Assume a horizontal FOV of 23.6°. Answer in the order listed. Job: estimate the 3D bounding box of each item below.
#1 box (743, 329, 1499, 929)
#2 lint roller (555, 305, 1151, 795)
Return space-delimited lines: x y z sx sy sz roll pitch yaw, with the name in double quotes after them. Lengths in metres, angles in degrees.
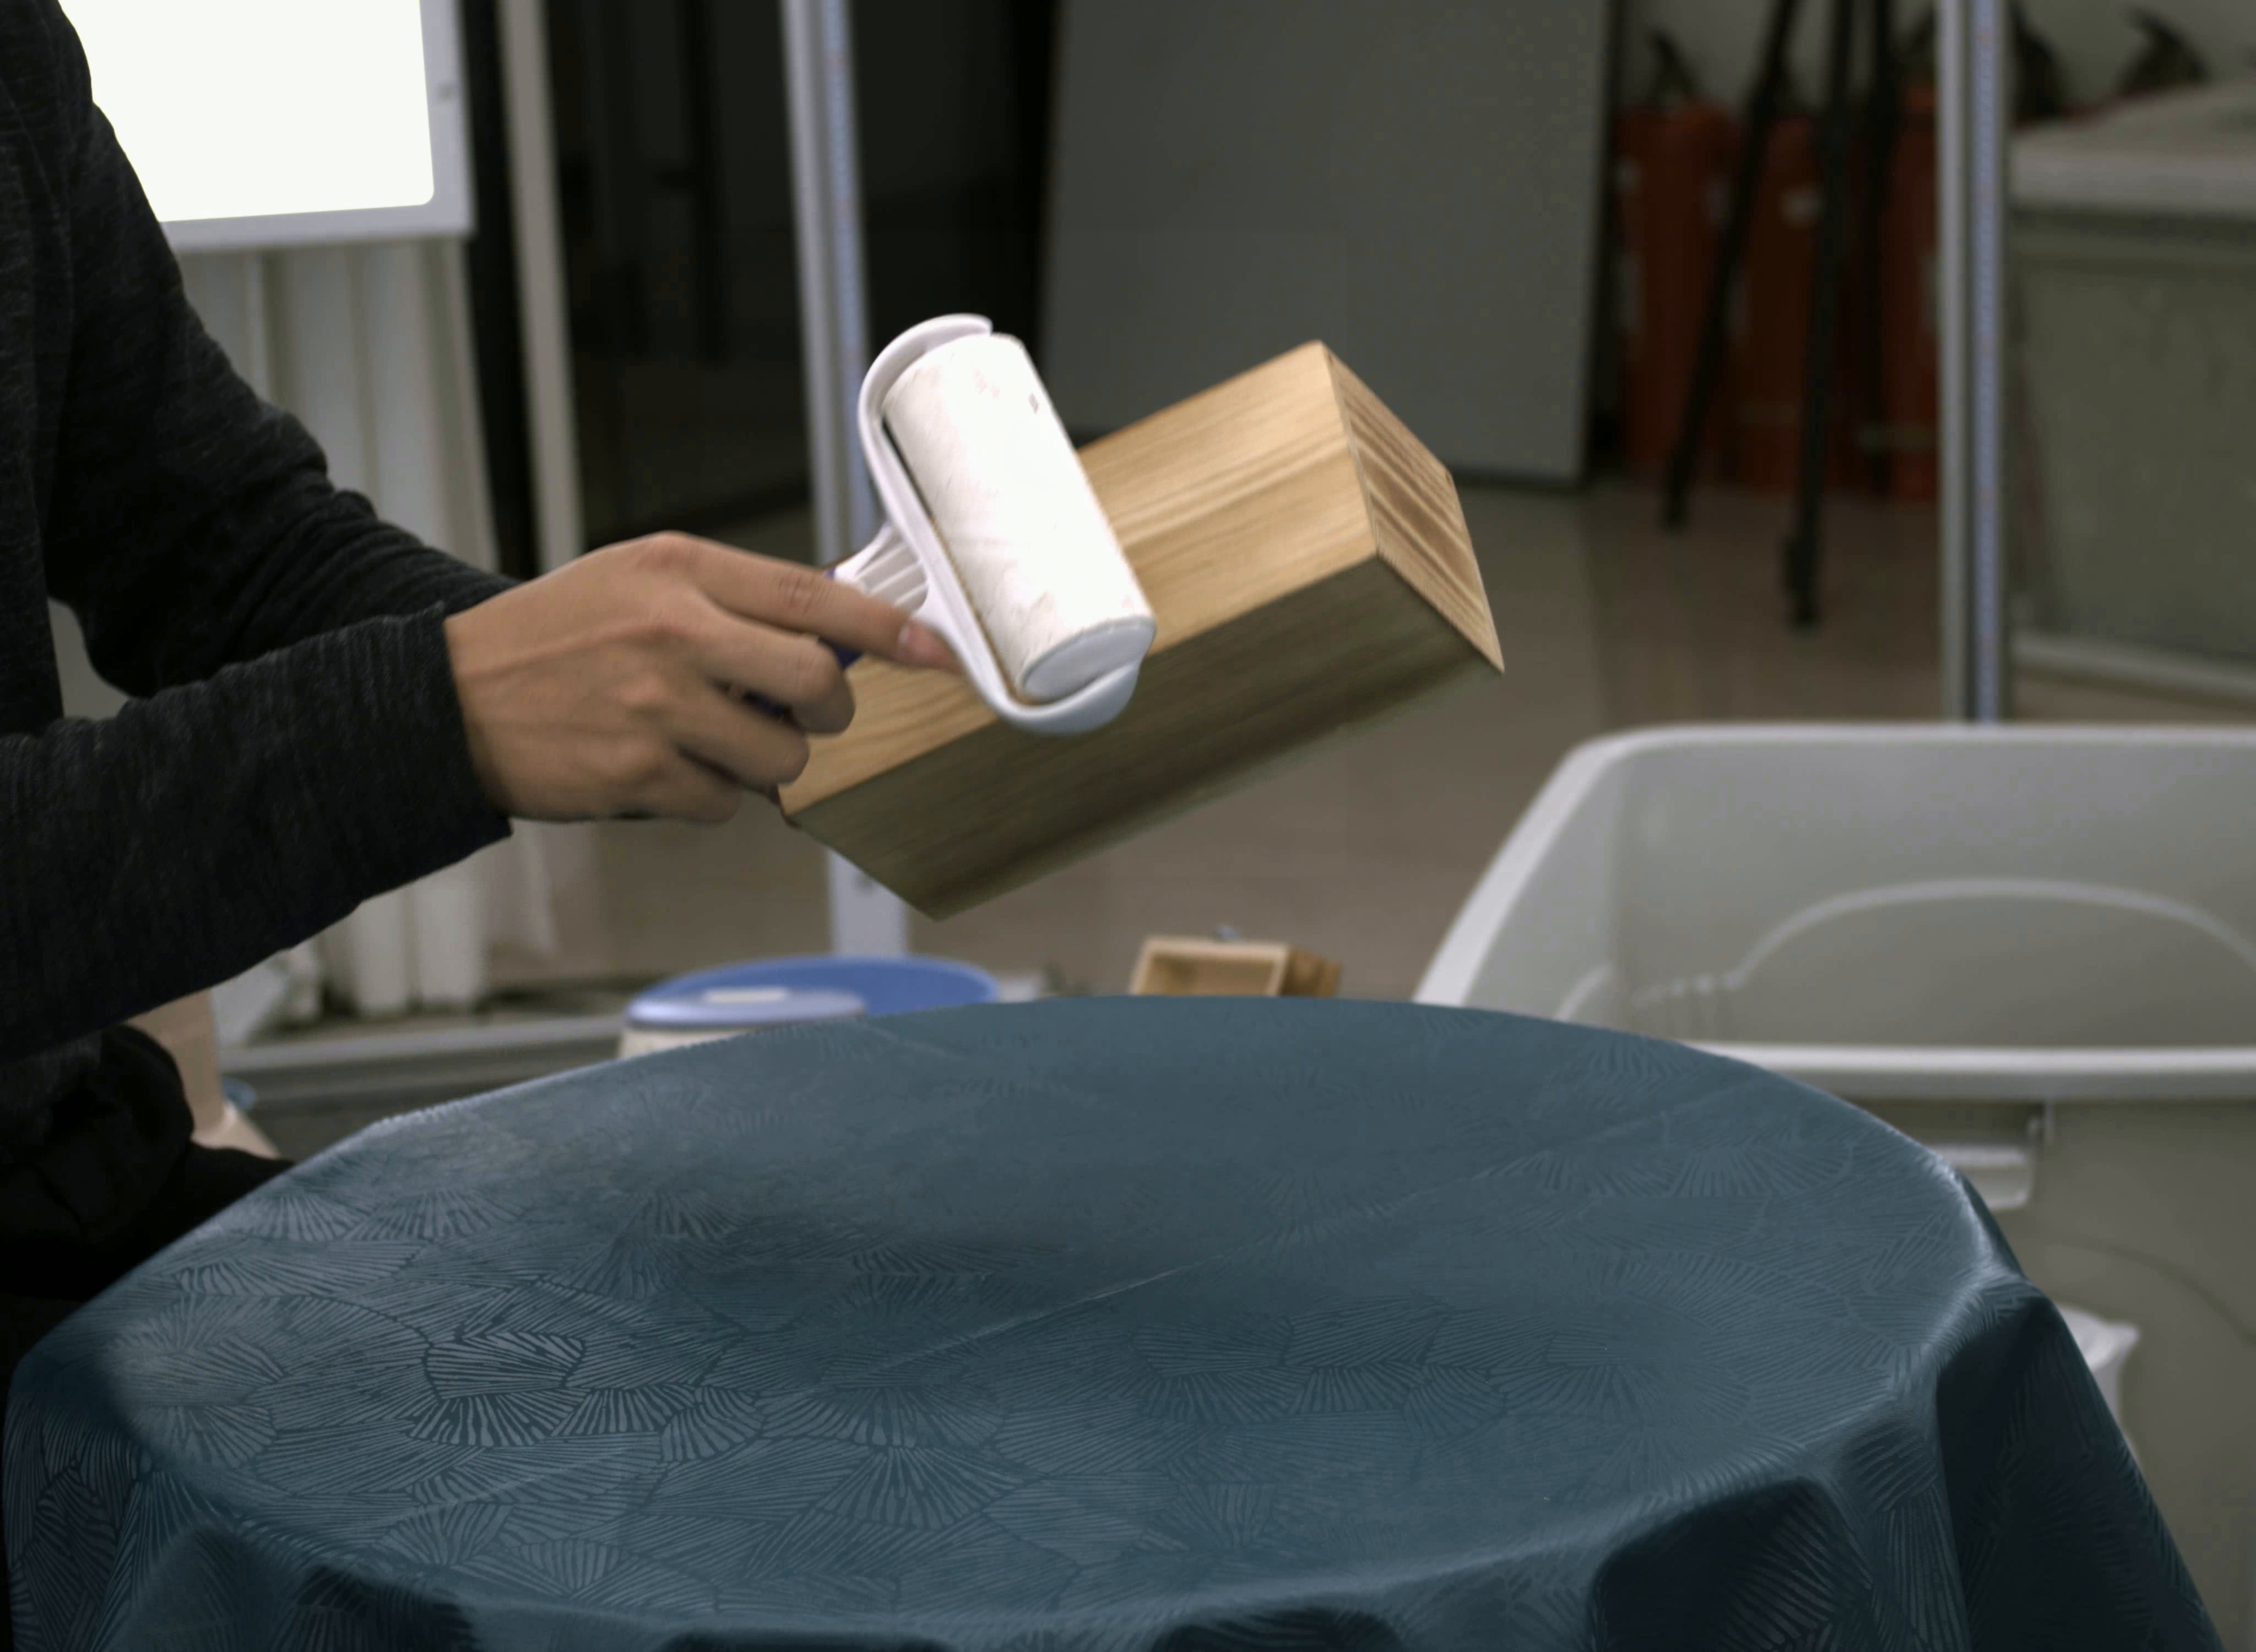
-0.003 -0.059 1.705 0.211 0.081 0.106 -24 -30 18 "box"
-0.093 -0.064 1.590 0.179 0.134 0.050 -25 -17 2 "lint roller"
